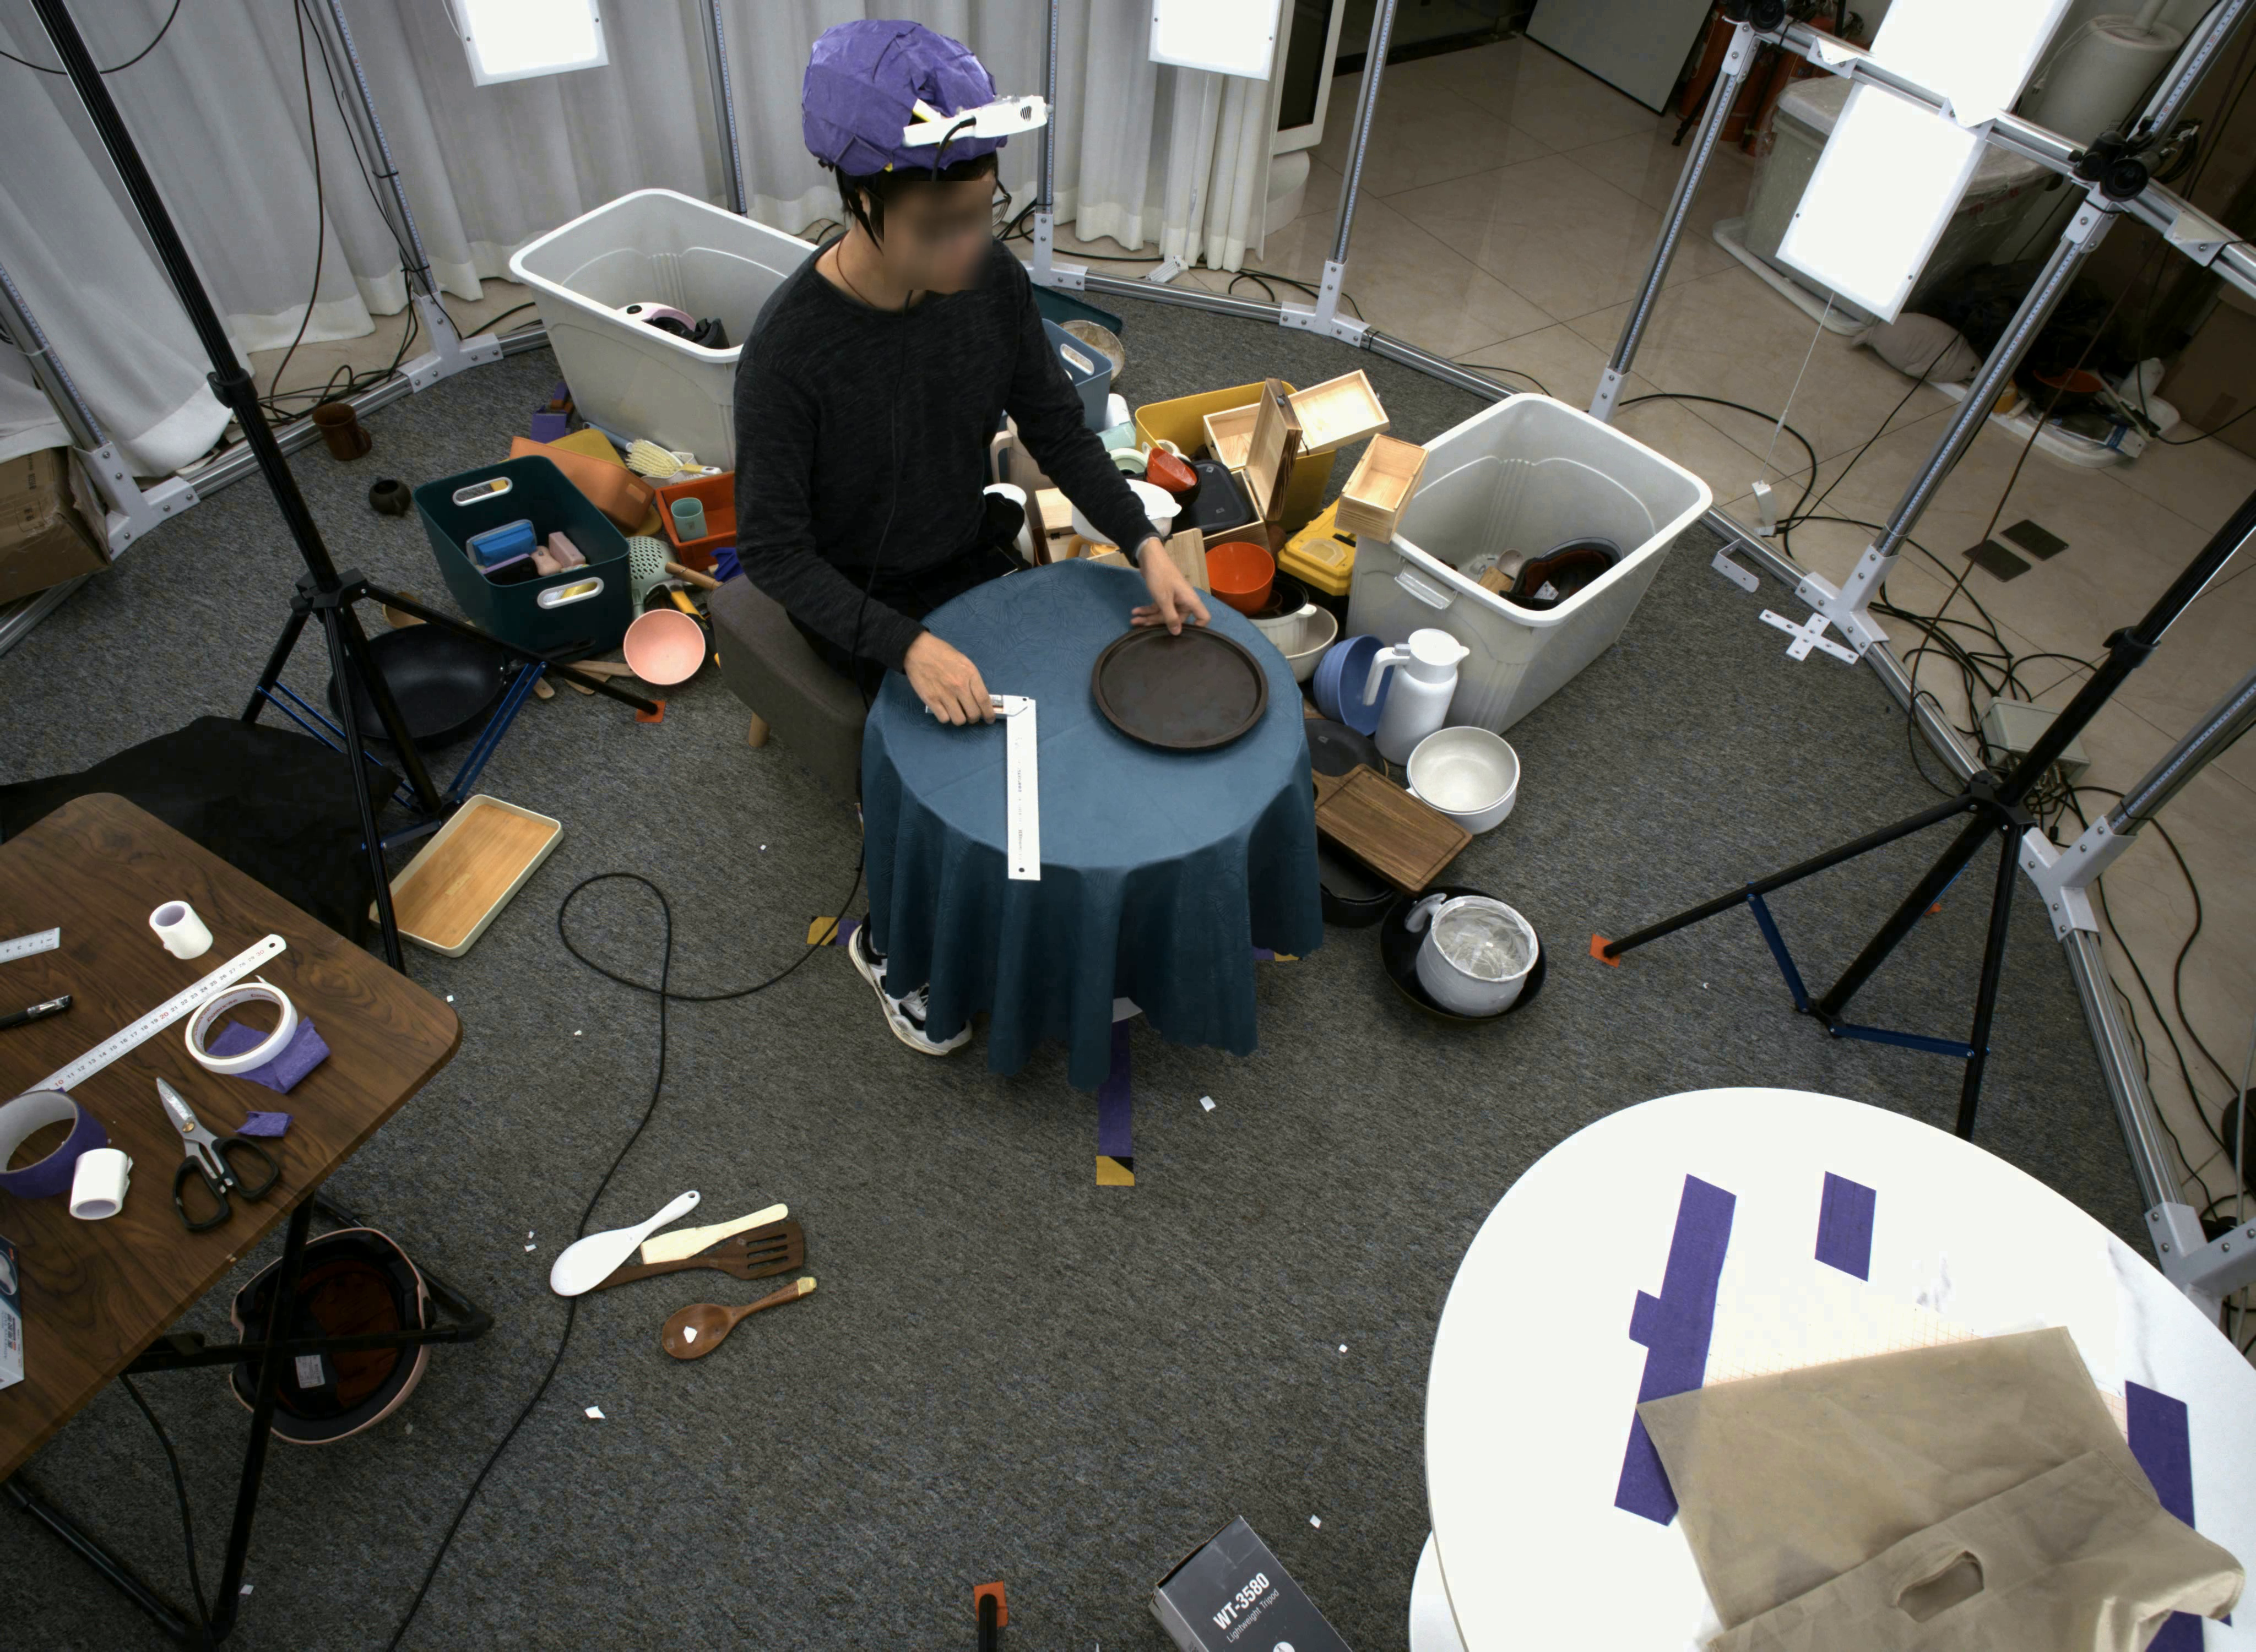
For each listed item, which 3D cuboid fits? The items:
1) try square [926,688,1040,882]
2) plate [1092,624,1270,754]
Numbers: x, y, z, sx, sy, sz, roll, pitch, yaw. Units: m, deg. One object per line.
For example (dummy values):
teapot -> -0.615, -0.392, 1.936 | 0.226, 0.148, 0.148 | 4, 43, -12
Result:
try square -> -0.193, -0.060, 1.691 | 0.152, 0.015, 0.321 | 4, 51, -10
plate -> 0.075, -0.198, 1.831 | 0.254, 0.028, 0.261 | 2, 50, -2
